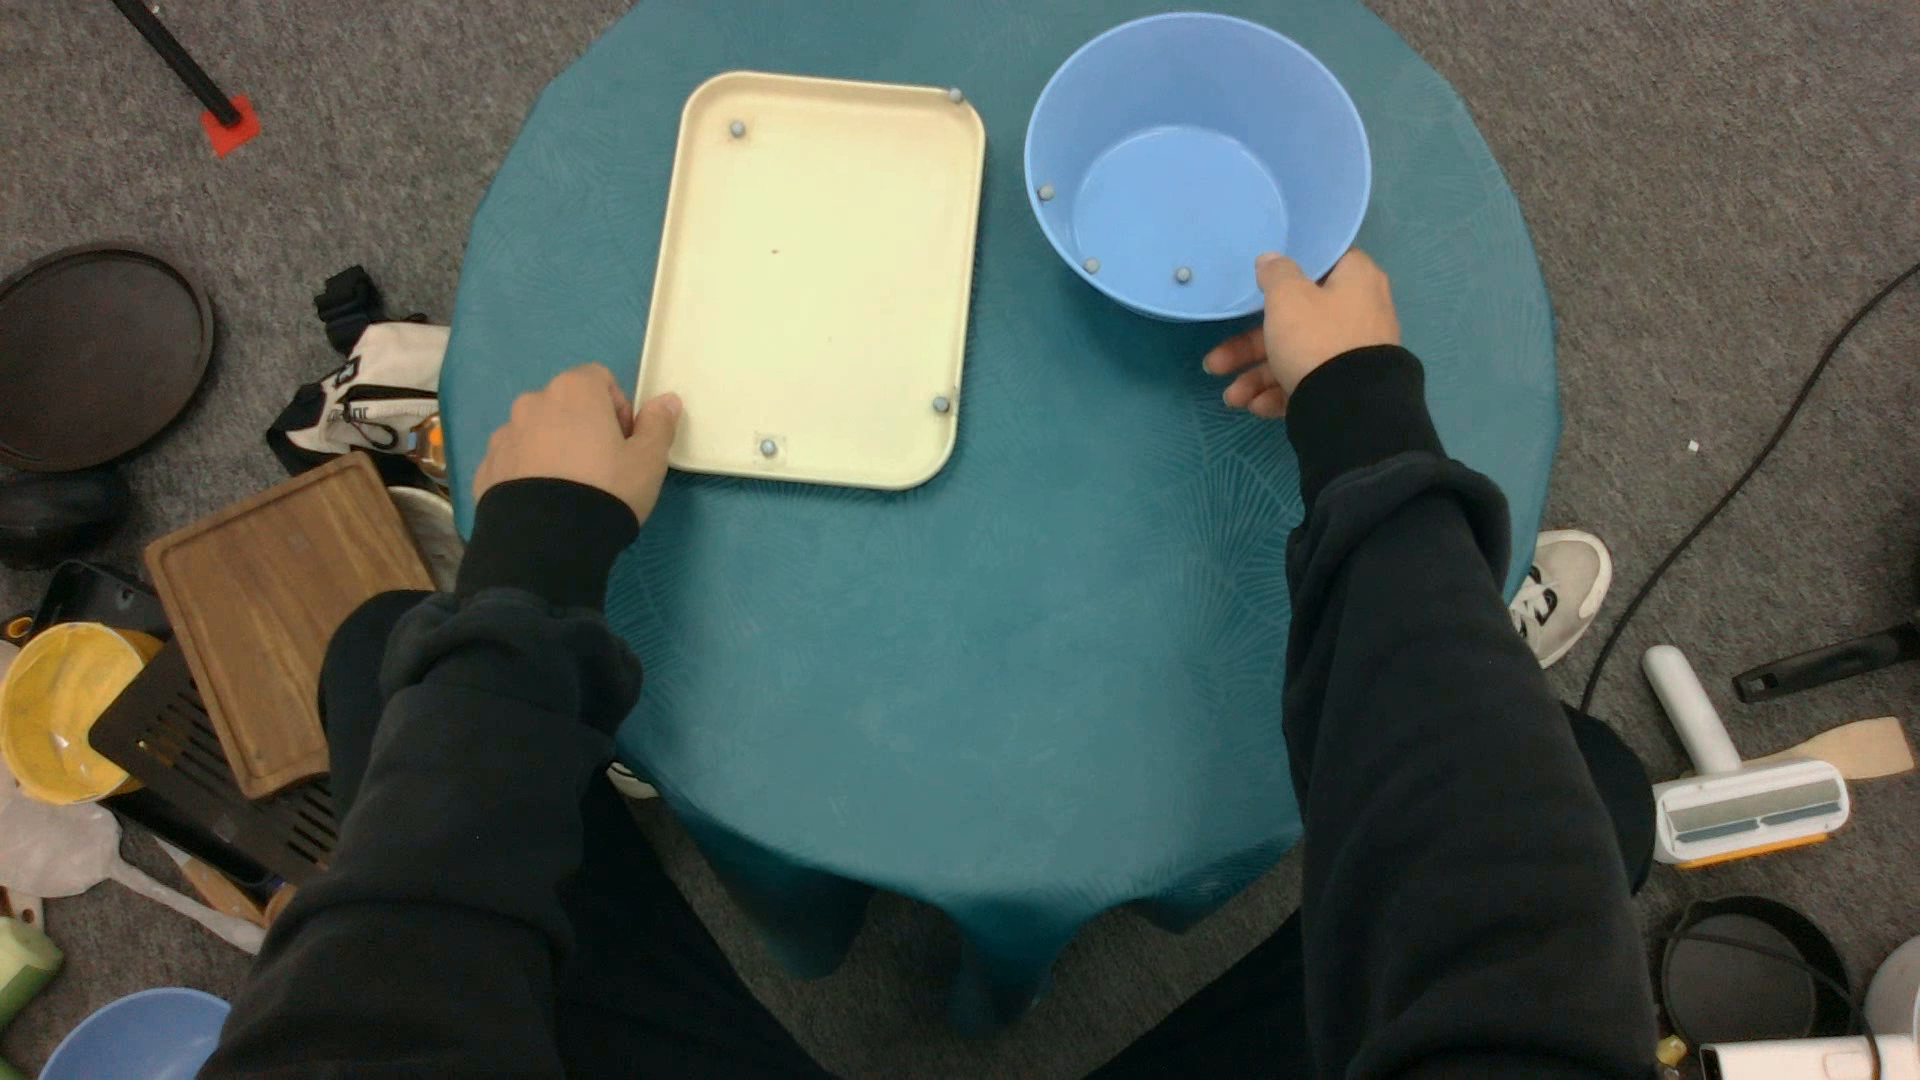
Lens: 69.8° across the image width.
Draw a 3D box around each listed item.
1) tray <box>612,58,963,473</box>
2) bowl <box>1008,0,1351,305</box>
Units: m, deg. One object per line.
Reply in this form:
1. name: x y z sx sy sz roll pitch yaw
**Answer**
1. tray: -0.090 -0.151 0.747 0.171 0.017 0.240 5 73 1
2. bowl: 0.113 -0.193 0.735 0.176 0.070 0.176 0 74 0
